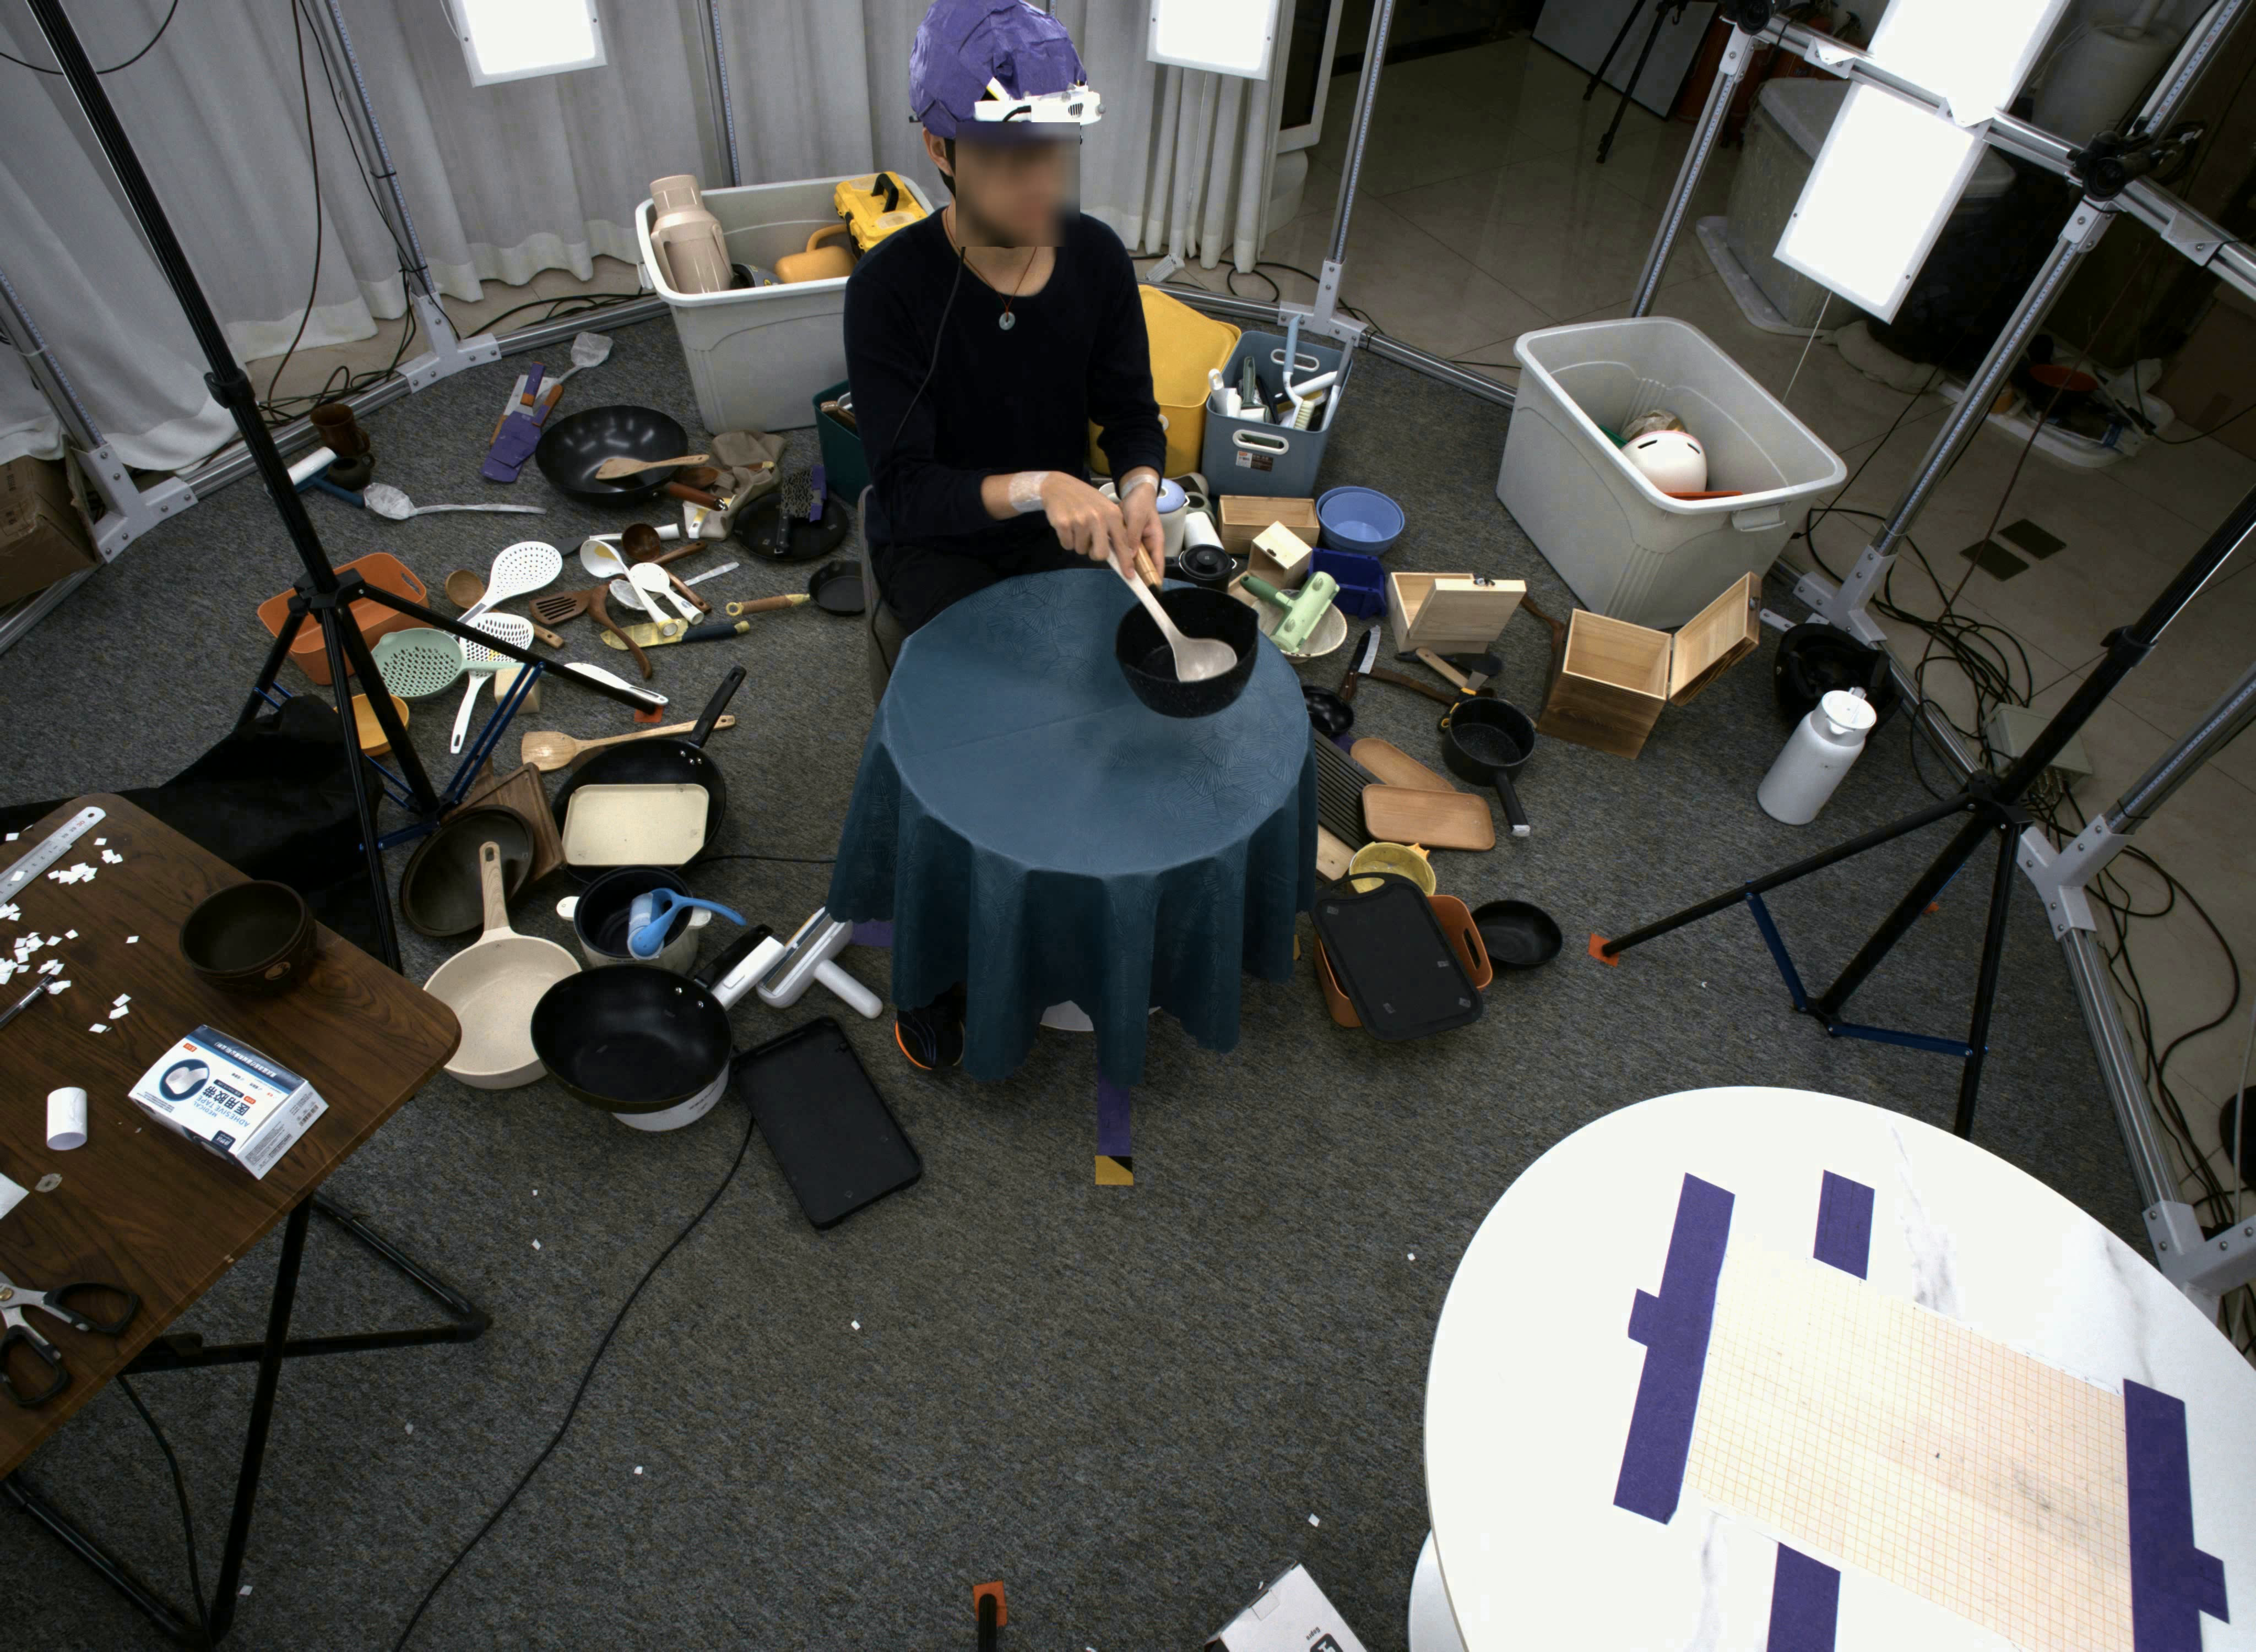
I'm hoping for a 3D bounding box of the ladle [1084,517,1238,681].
[{"bbox_3d":[0.041,-0.287,1.646,0.090,0.271,0.069,-45,20,-24],"label":"ladle"}]

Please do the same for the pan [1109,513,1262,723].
[{"bbox_3d":[0.052,-0.281,1.724,0.207,0.105,0.351,-20,51,-9],"label":"pan"}]
